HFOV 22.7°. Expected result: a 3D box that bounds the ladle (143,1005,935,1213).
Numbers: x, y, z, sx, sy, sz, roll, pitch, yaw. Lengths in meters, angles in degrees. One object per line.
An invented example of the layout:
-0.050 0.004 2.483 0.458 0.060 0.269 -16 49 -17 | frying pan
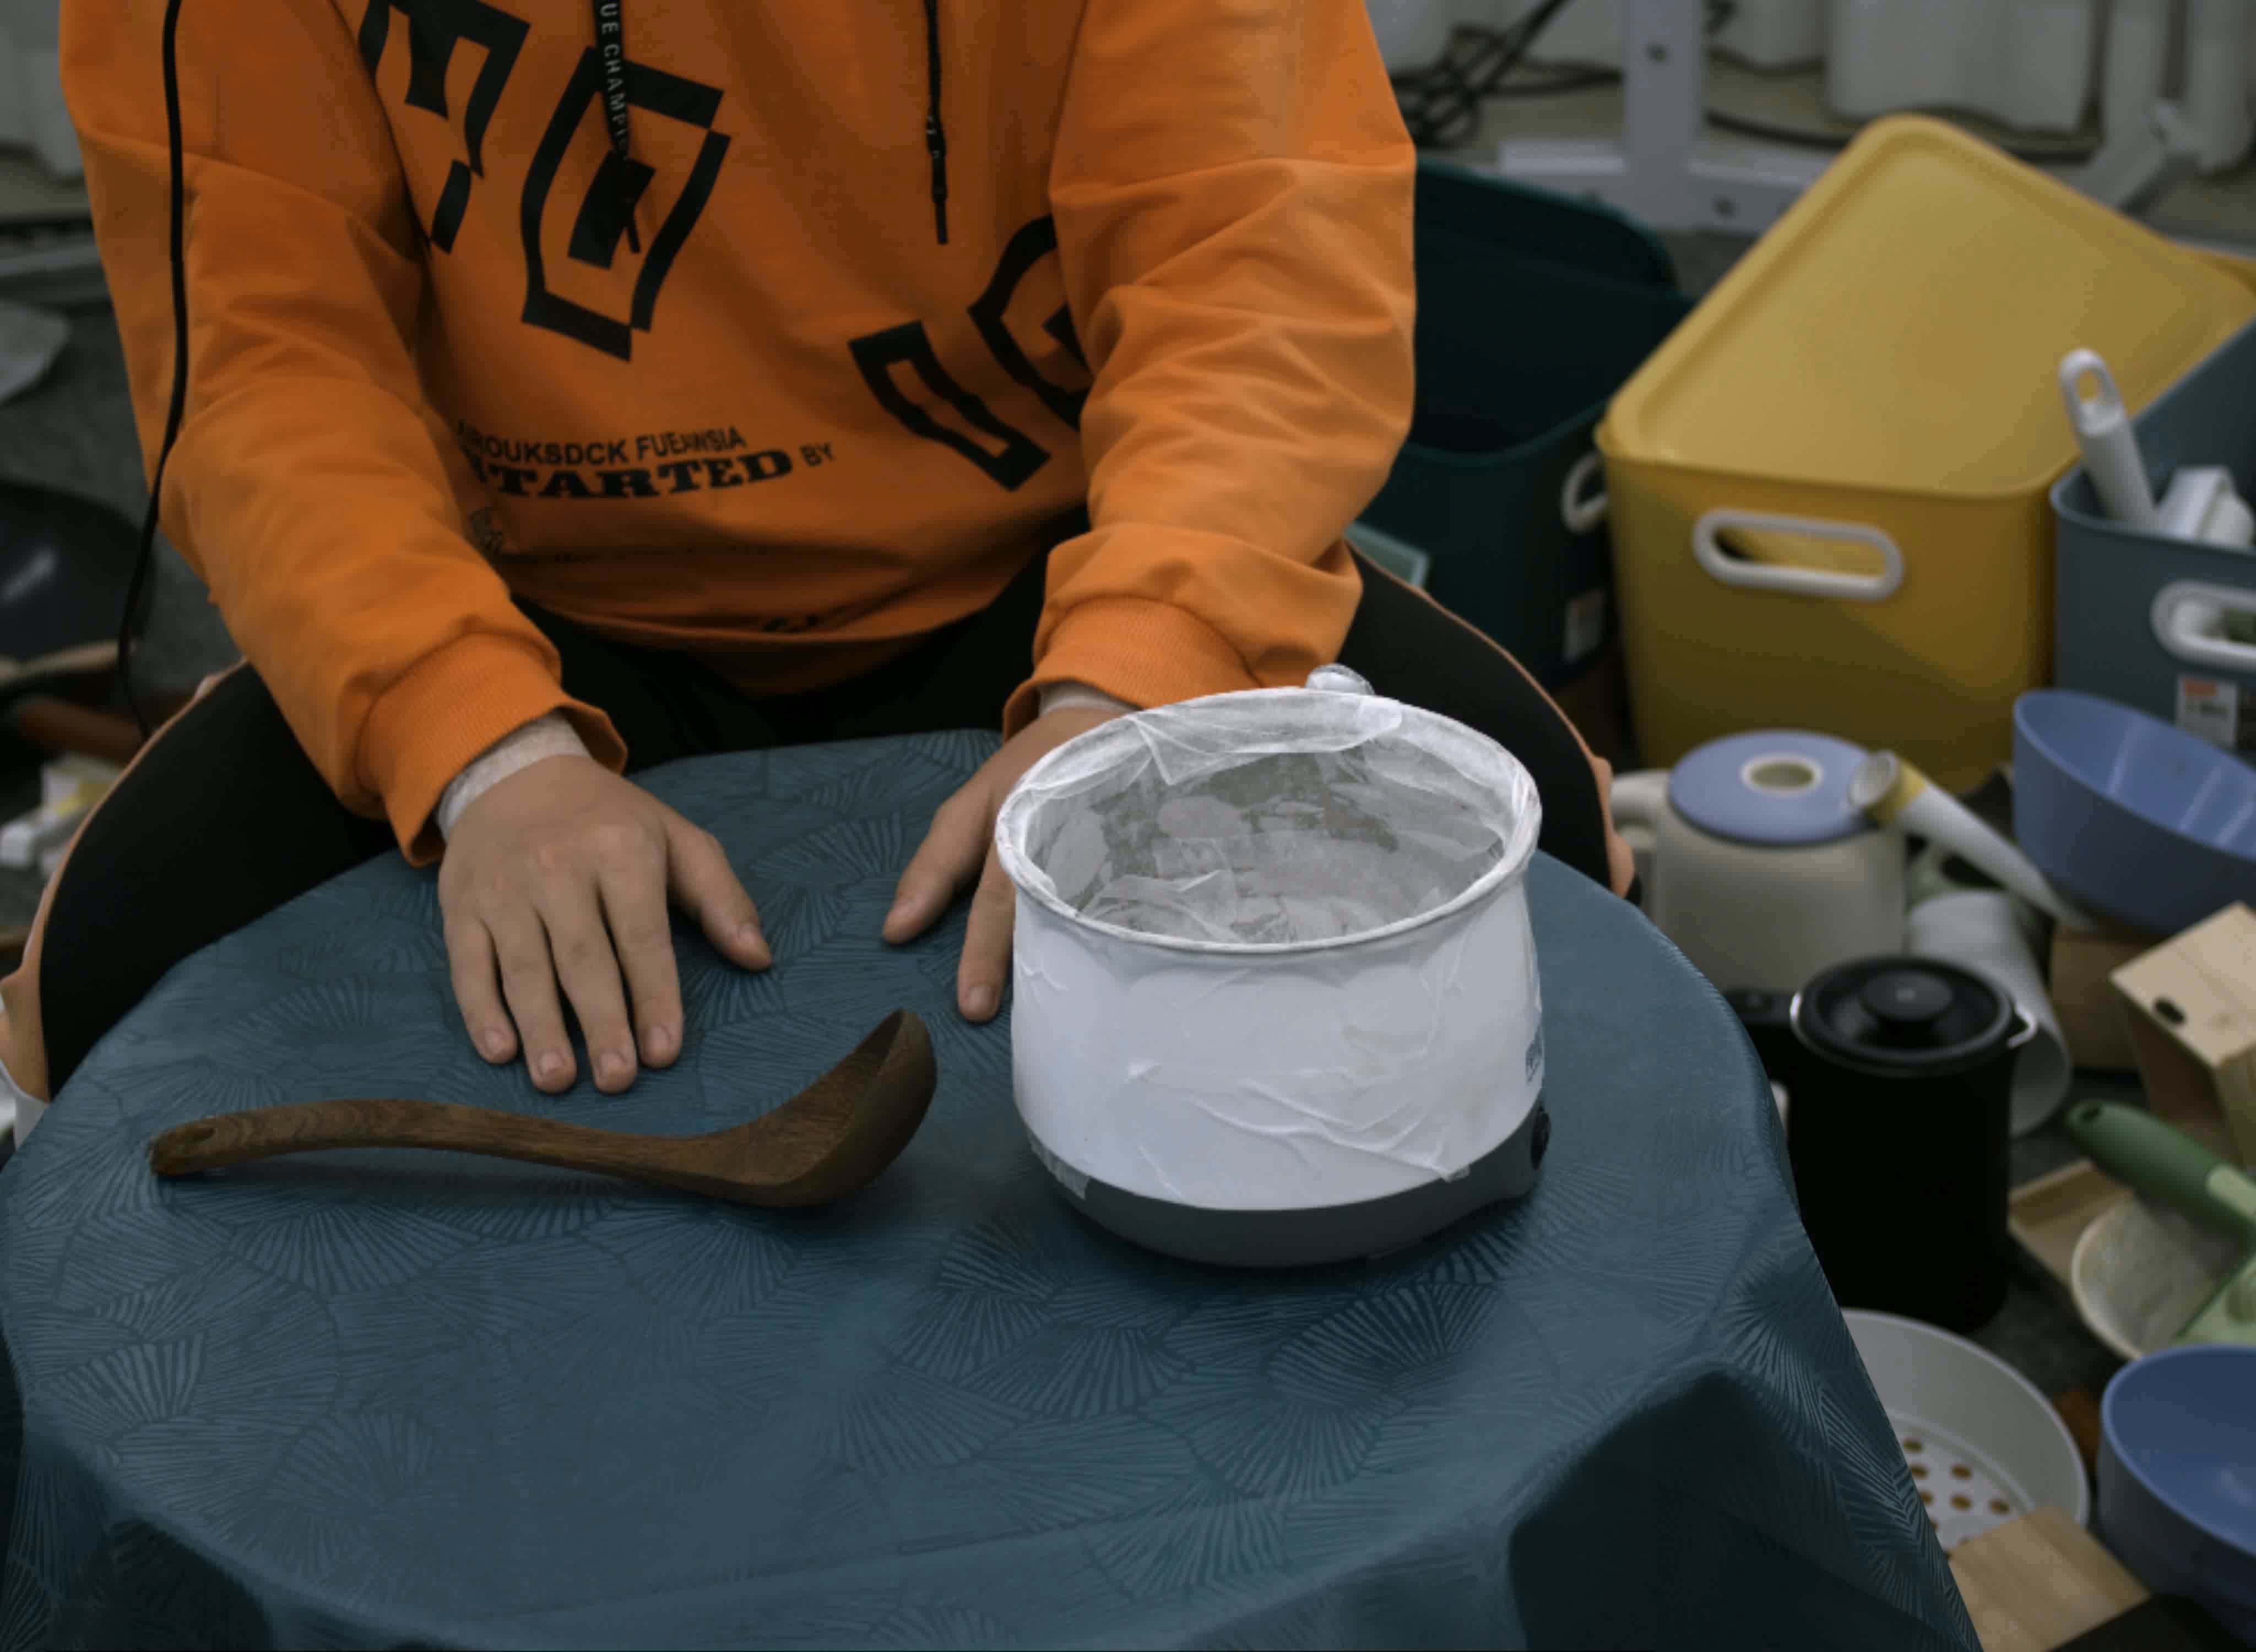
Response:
-0.198 0.090 1.868 0.272 0.070 0.077 2 24 9 | ladle

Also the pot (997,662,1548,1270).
0.054 0.039 1.869 0.177 0.135 0.238 4 28 12 | pot
